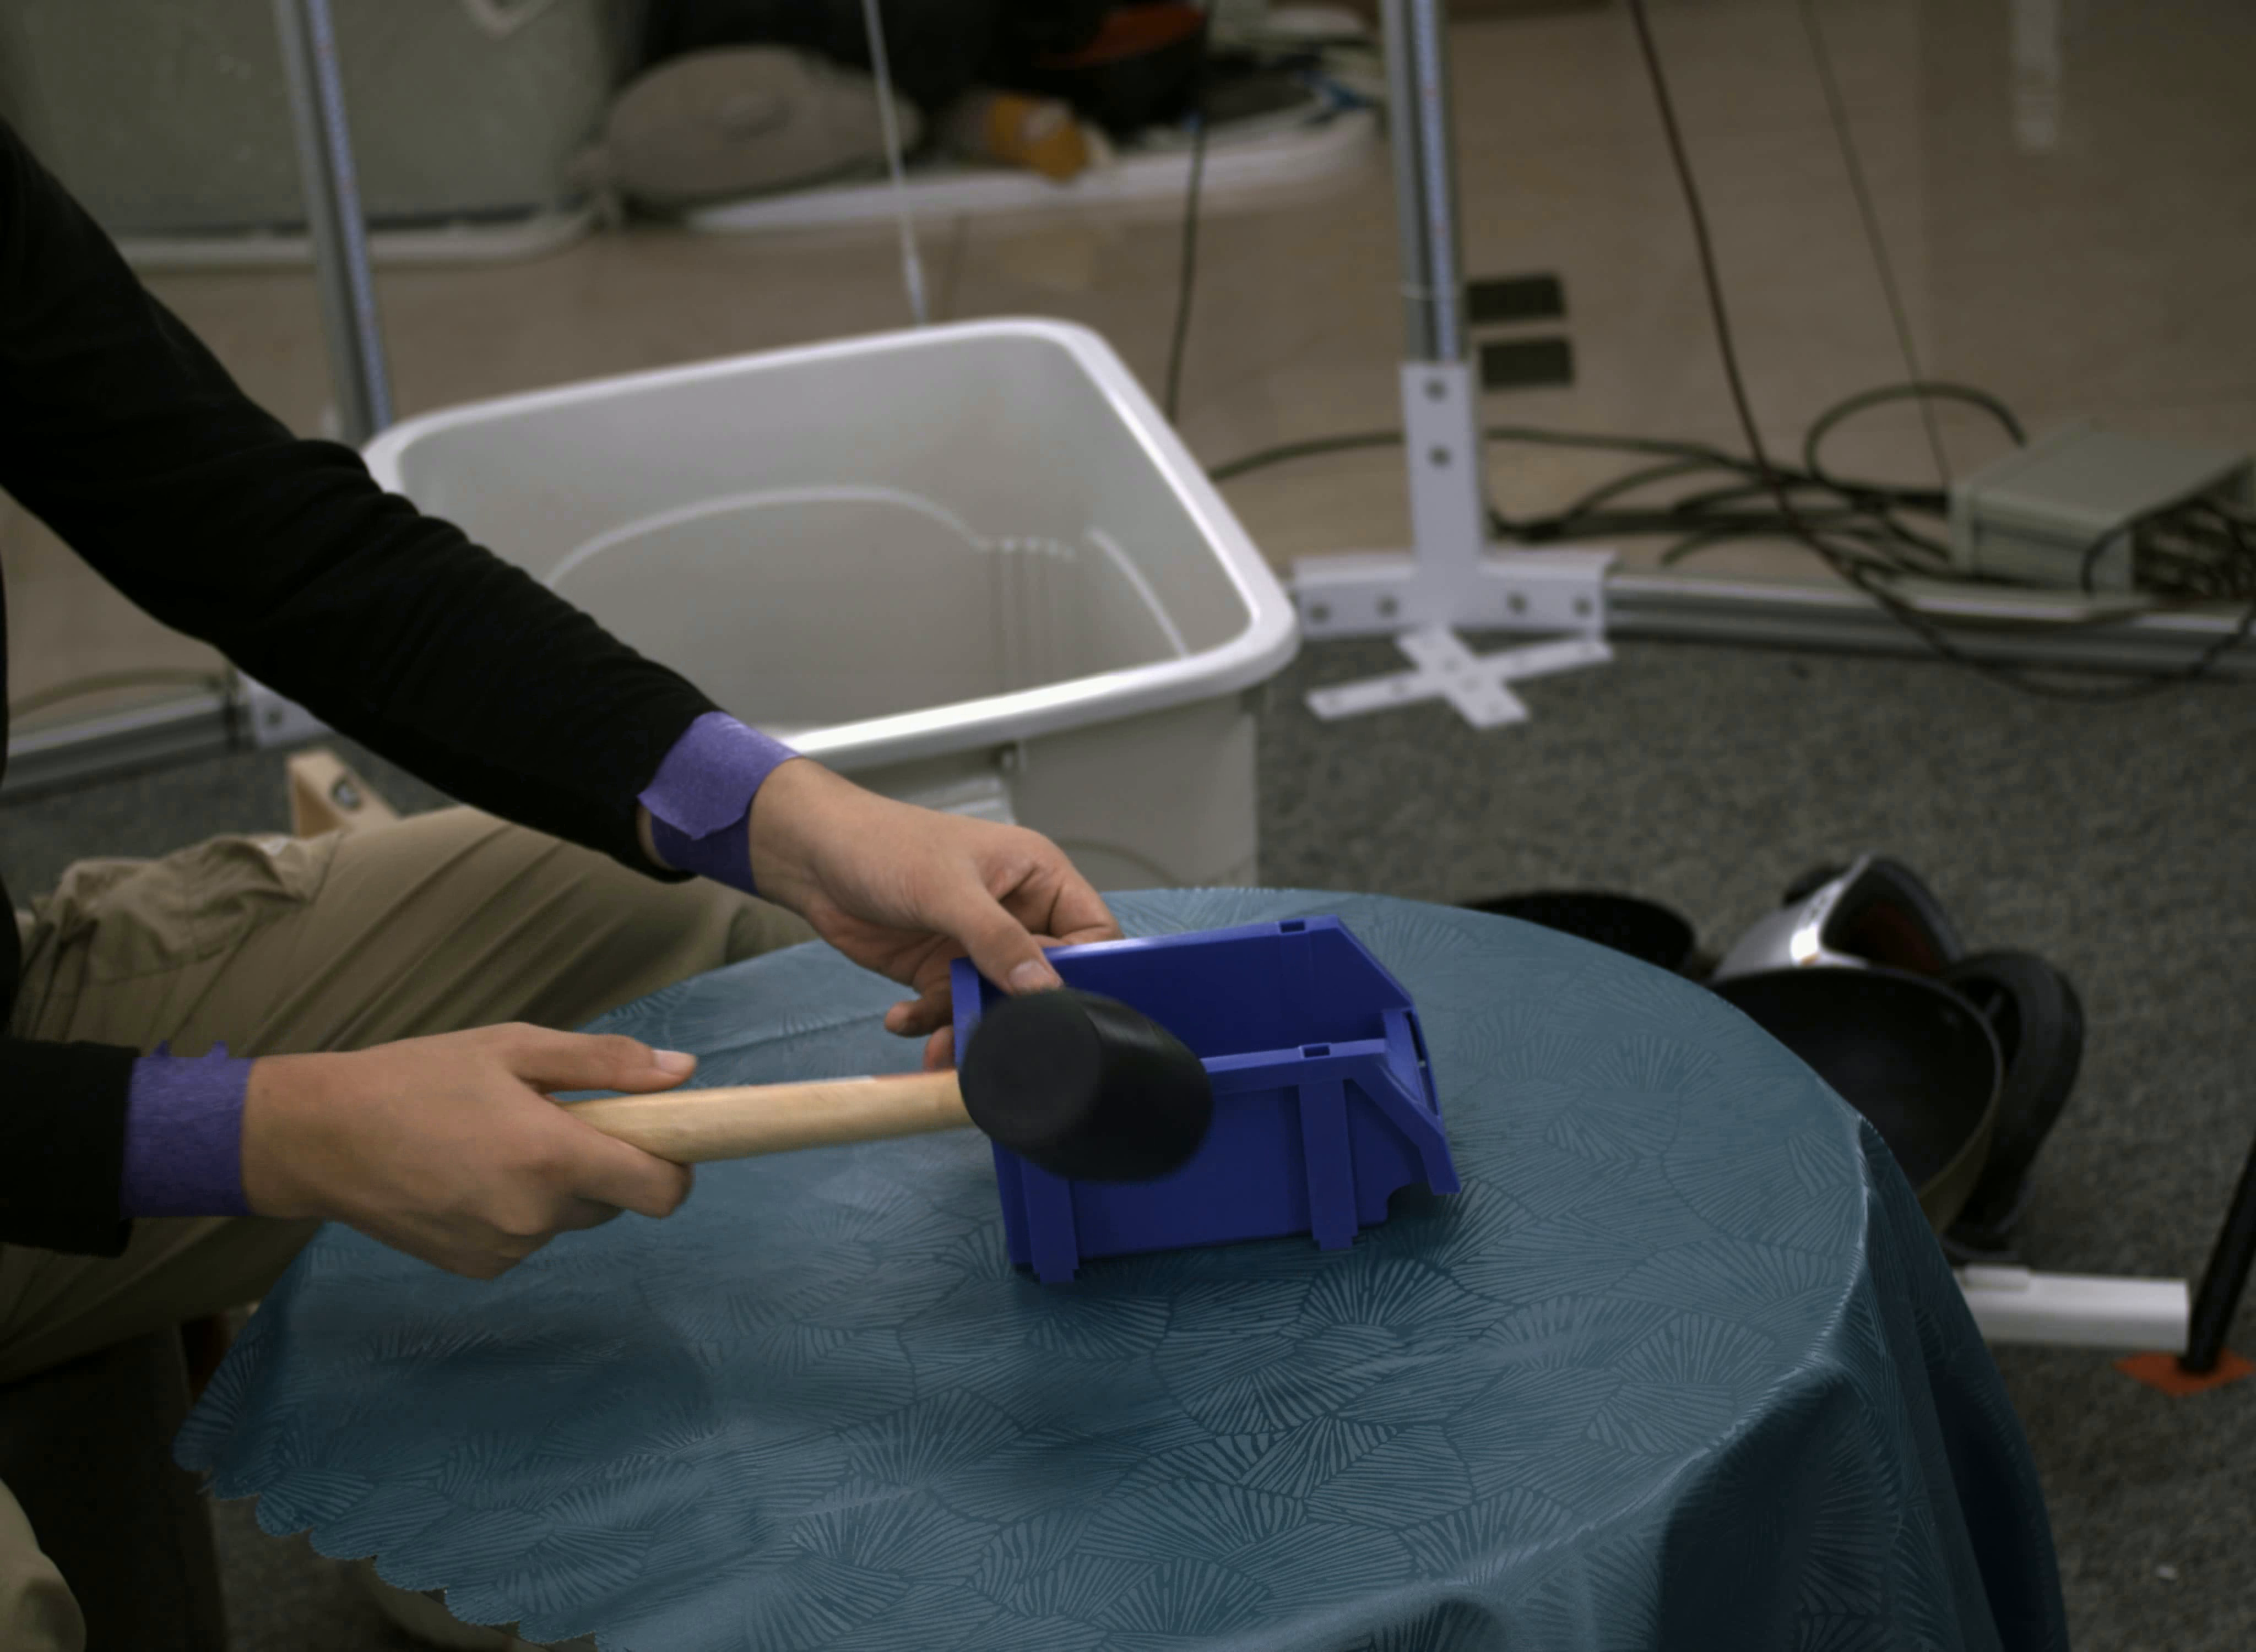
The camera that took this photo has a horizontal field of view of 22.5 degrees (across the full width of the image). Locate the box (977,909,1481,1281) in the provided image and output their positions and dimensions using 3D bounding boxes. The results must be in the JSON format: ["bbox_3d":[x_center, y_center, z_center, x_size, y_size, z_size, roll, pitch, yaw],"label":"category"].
[{"bbox_3d":[0.038,0.098,2.131,0.179,0.083,0.122,-8,25,3],"label":"box"}]

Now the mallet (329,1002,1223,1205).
[{"bbox_3d":[-0.136,0.101,2.036,0.338,0.064,0.102,-2,-14,25],"label":"mallet"}]
